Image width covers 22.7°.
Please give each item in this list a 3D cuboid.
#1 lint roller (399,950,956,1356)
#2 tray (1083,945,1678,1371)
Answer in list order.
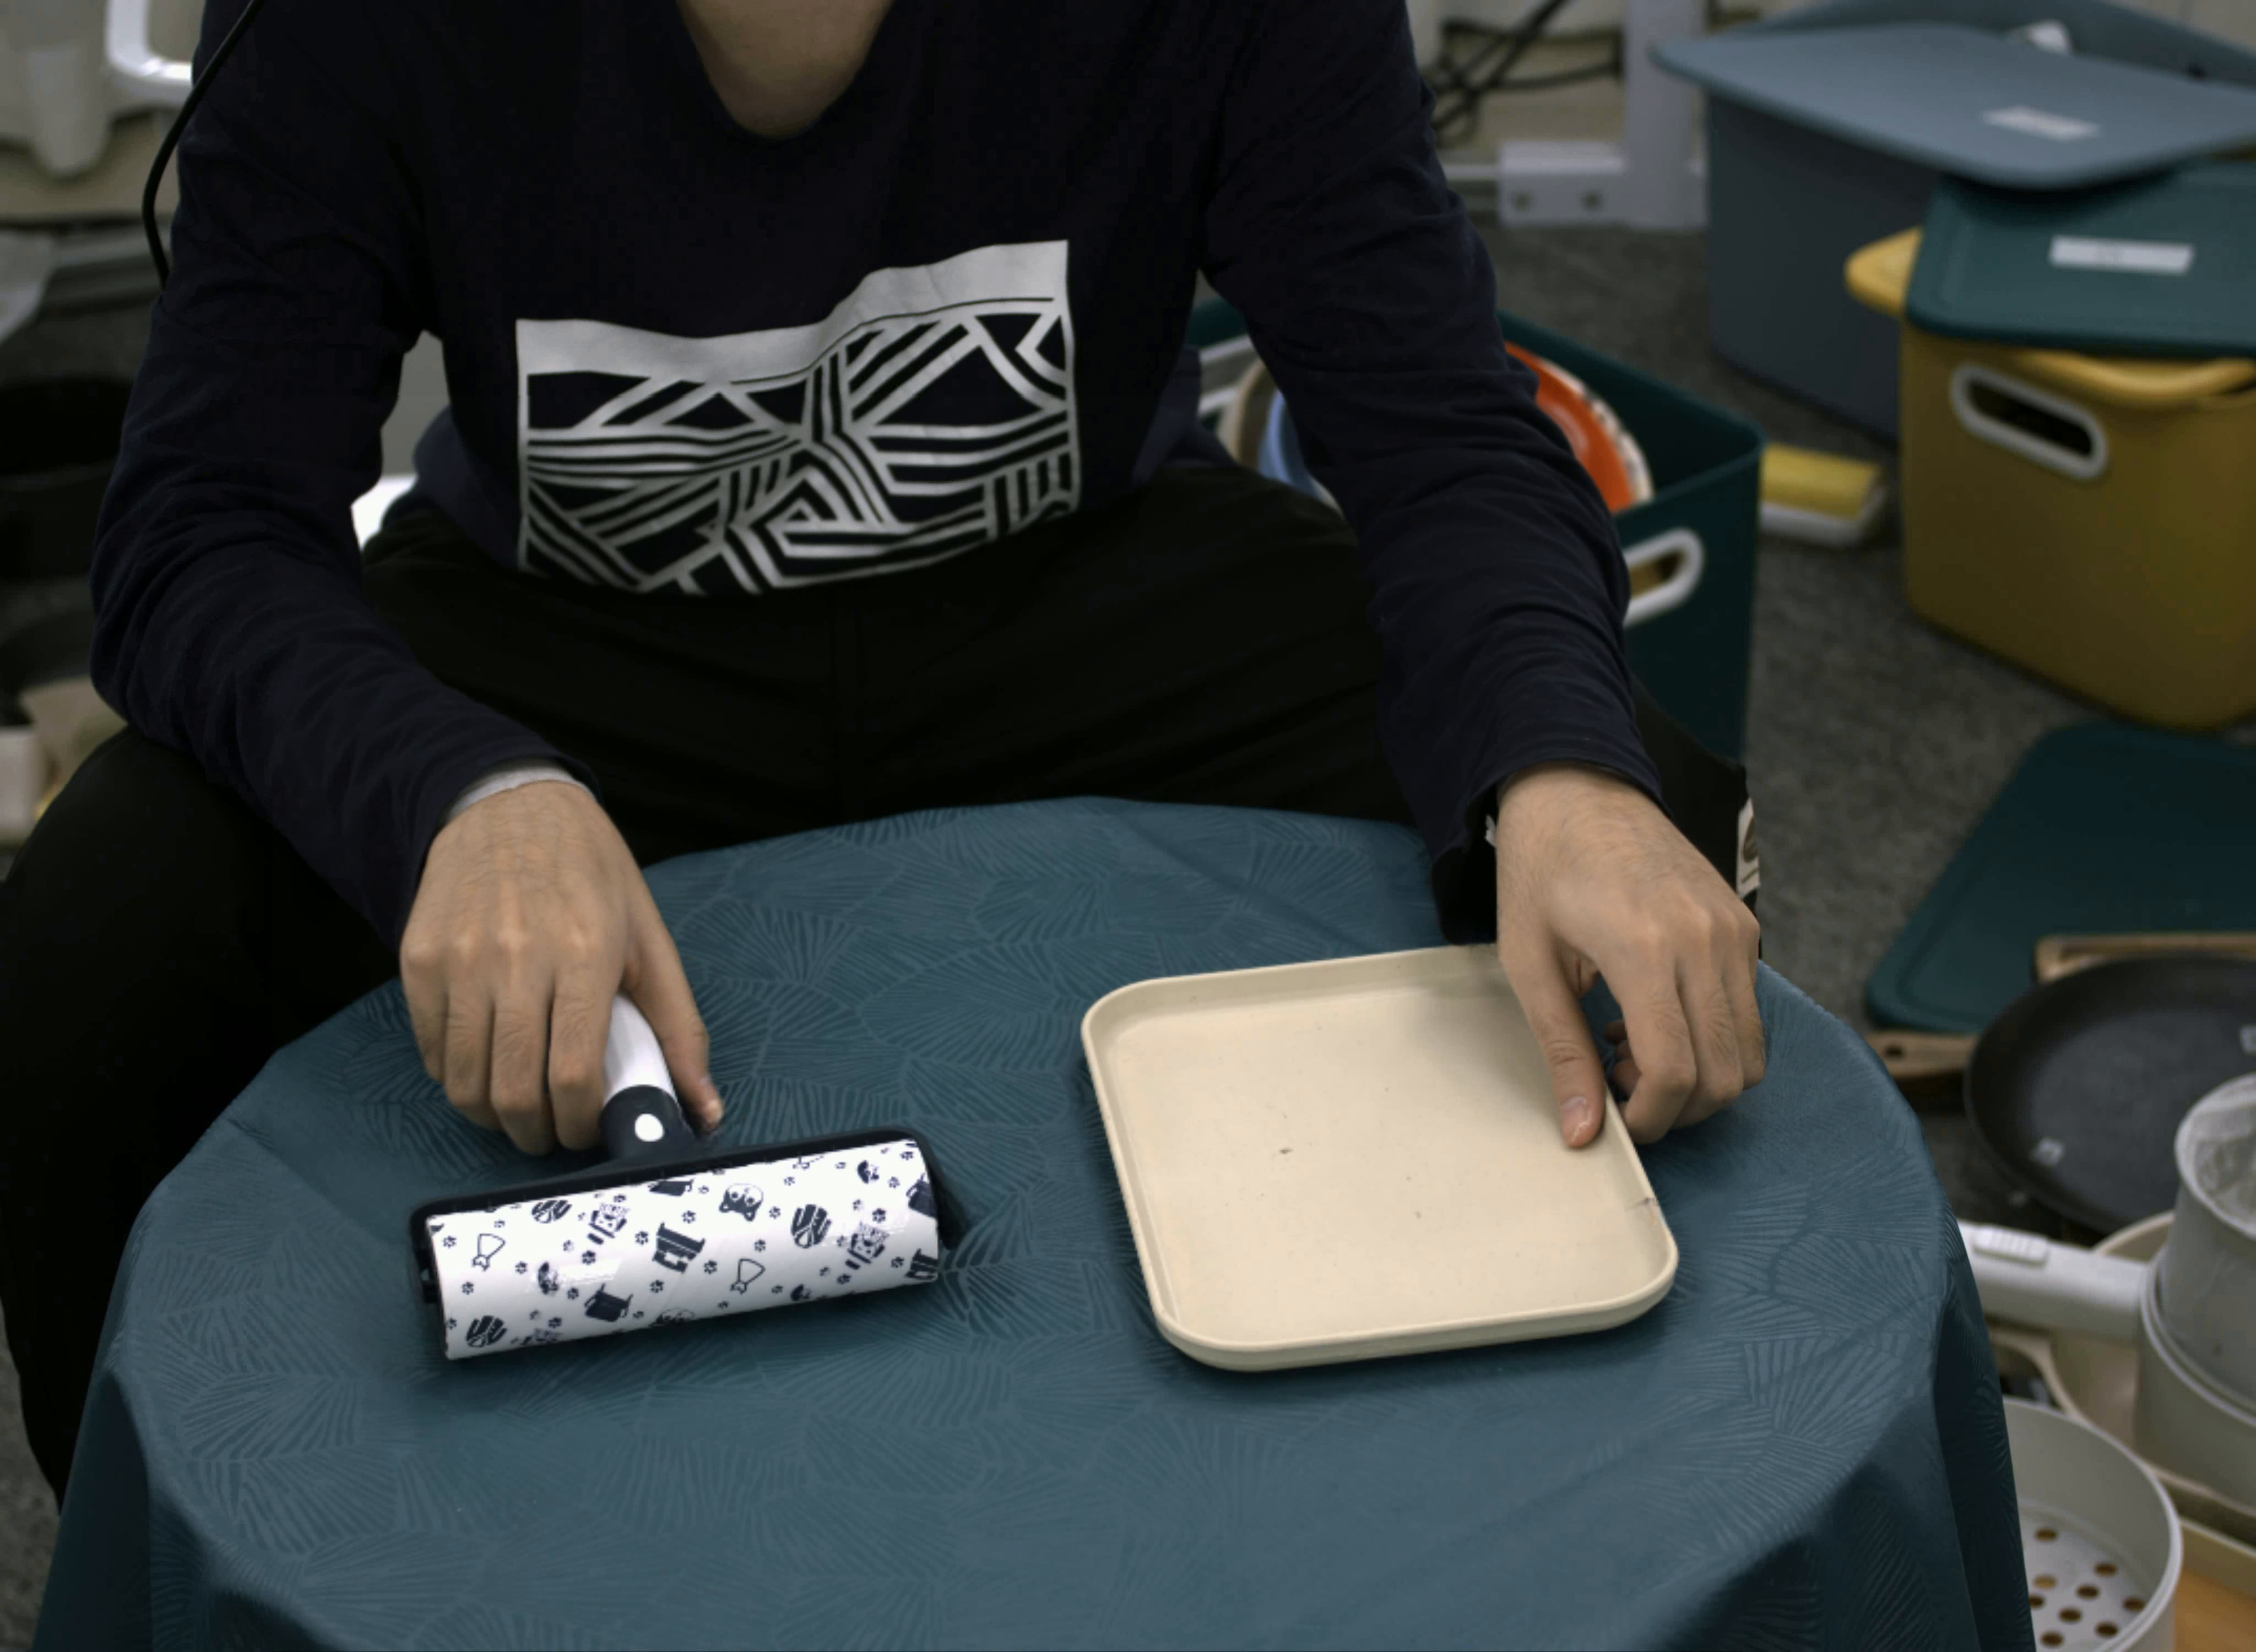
[{"bbox_3d":[-0.168,0.094,1.887,0.176,0.050,0.249,-9,26,-12],"label":"lint roller"},{"bbox_3d":[0.080,0.108,1.860,0.171,0.017,0.243,-6,27,-5],"label":"tray"}]
